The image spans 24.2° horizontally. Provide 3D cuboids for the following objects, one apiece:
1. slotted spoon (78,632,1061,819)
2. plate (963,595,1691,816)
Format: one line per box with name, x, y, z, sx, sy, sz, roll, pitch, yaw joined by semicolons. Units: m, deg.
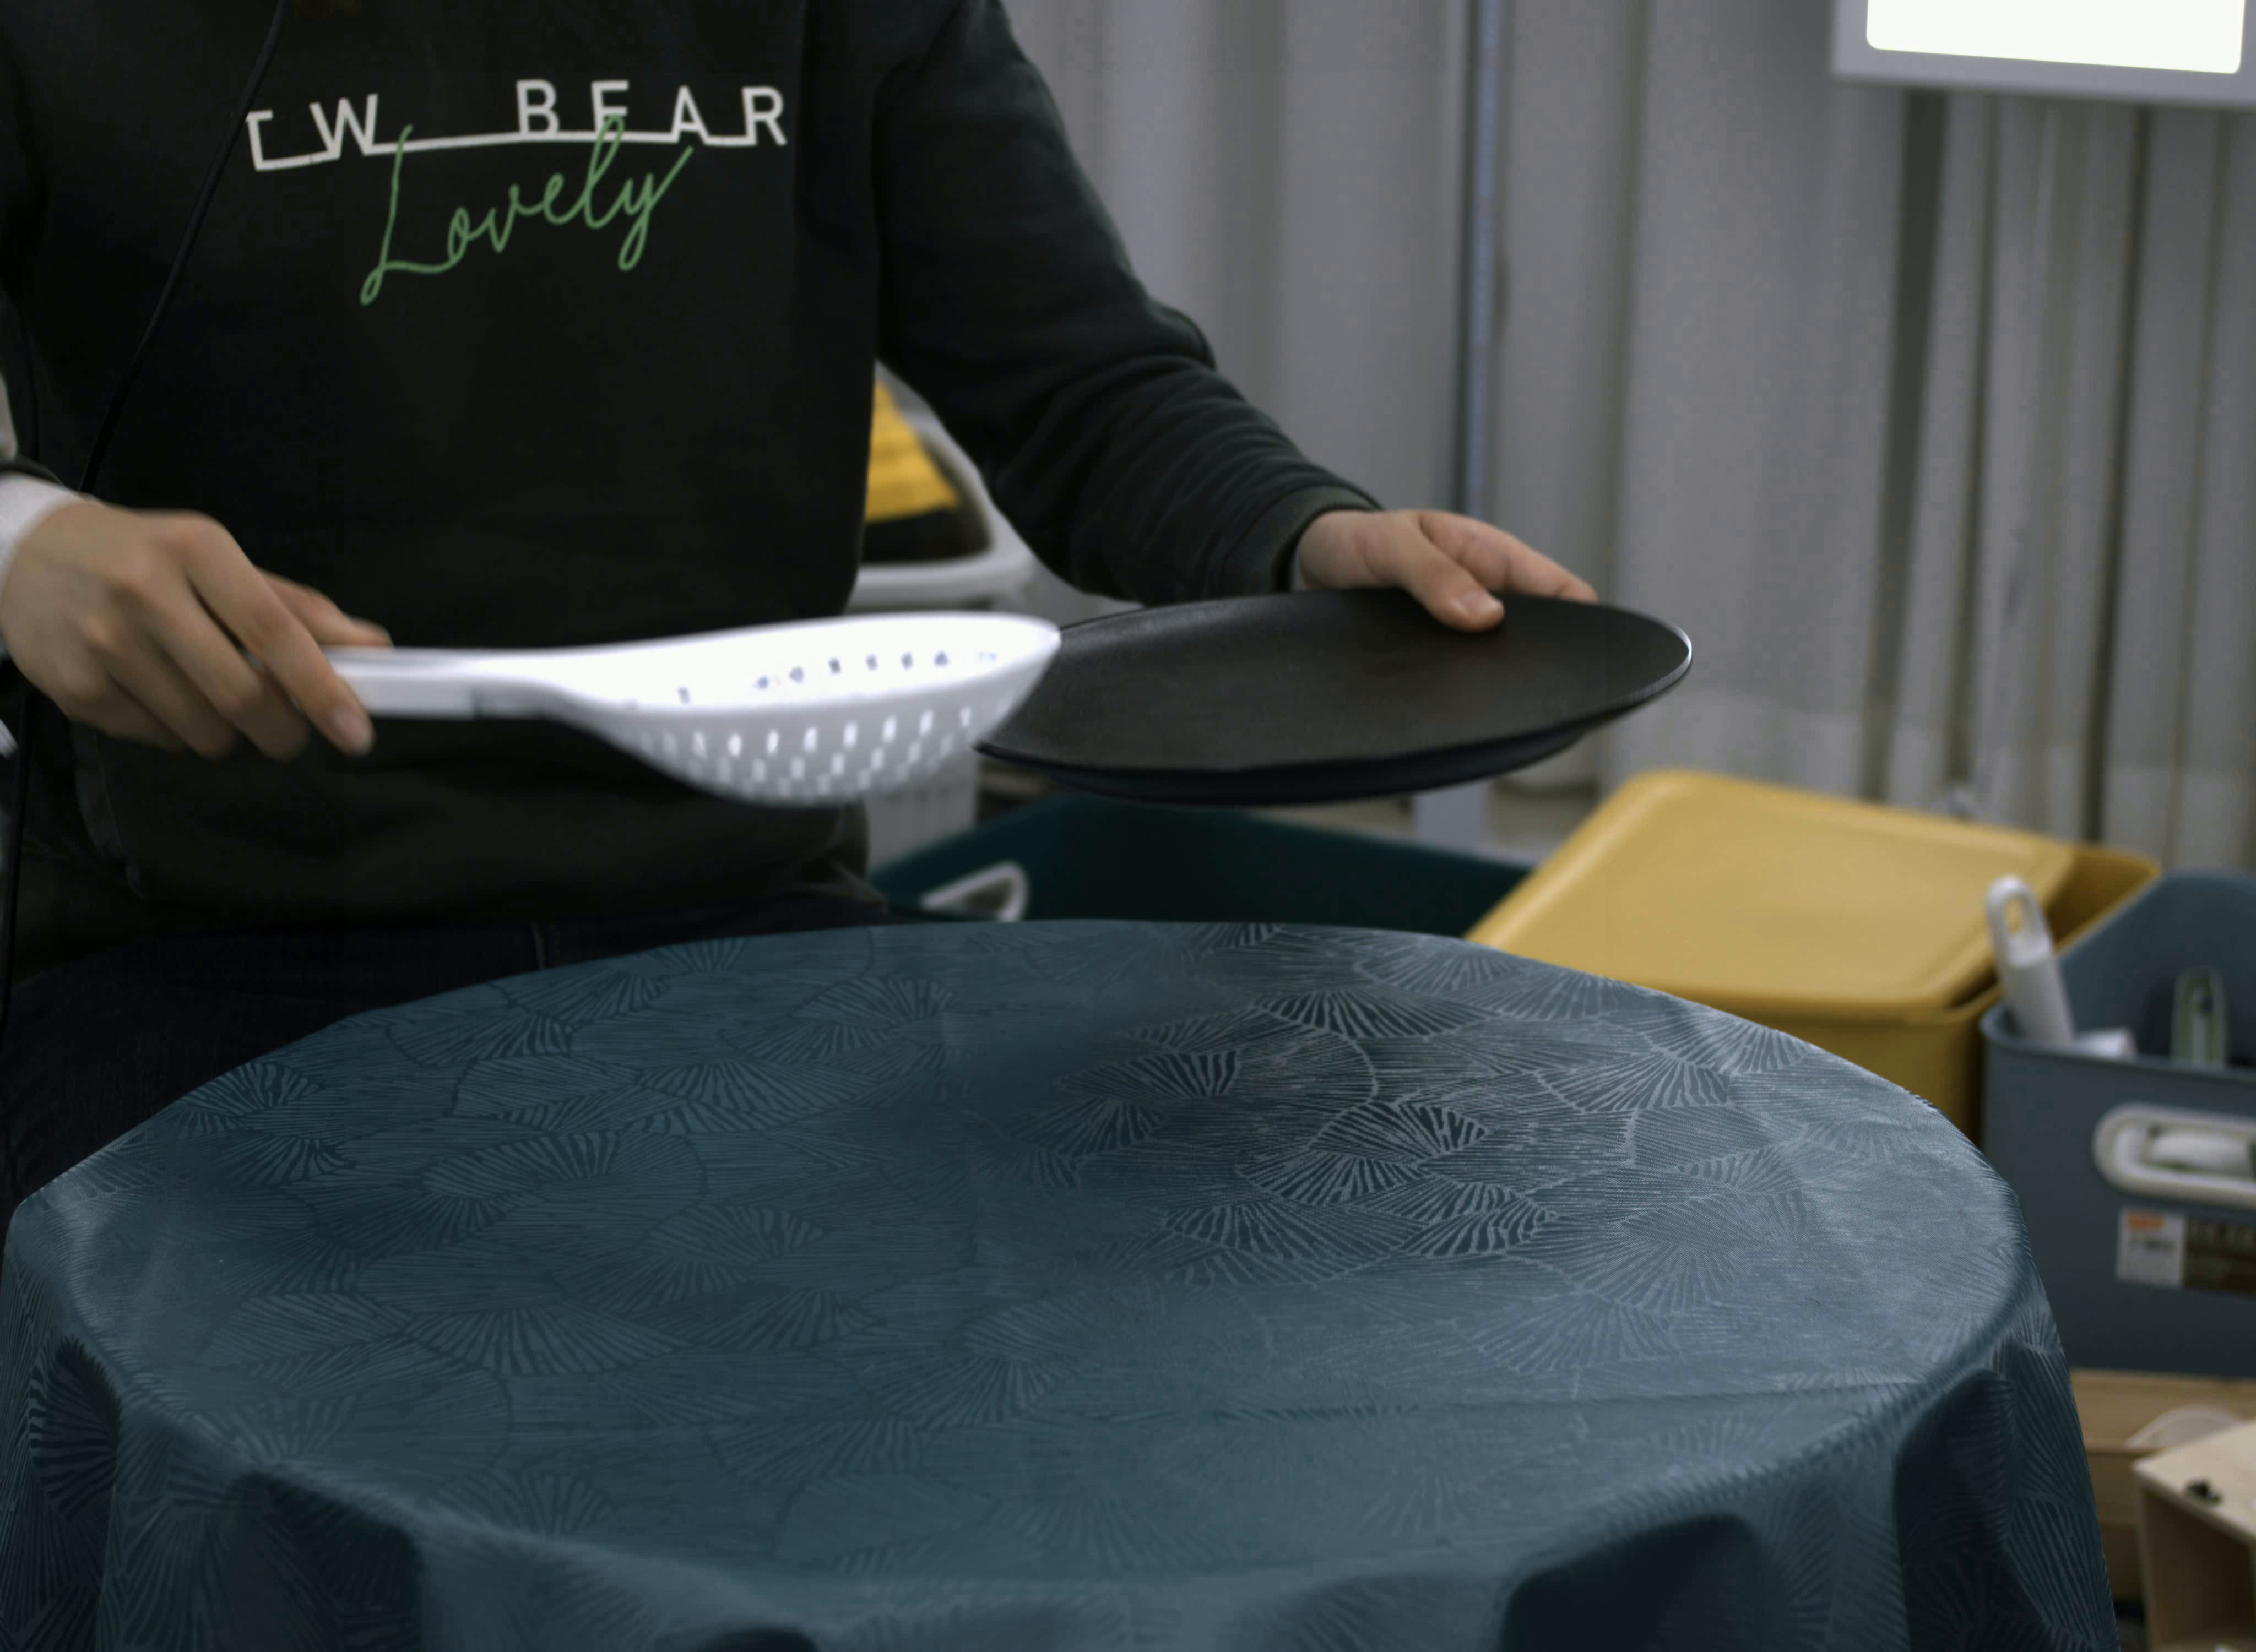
slotted spoon;-0.175;-0.038;1.535;0.345;0.046;0.136;8;16;32
plate;0.059;-0.037;1.686;0.243;0.023;0.243;-3;15;1
